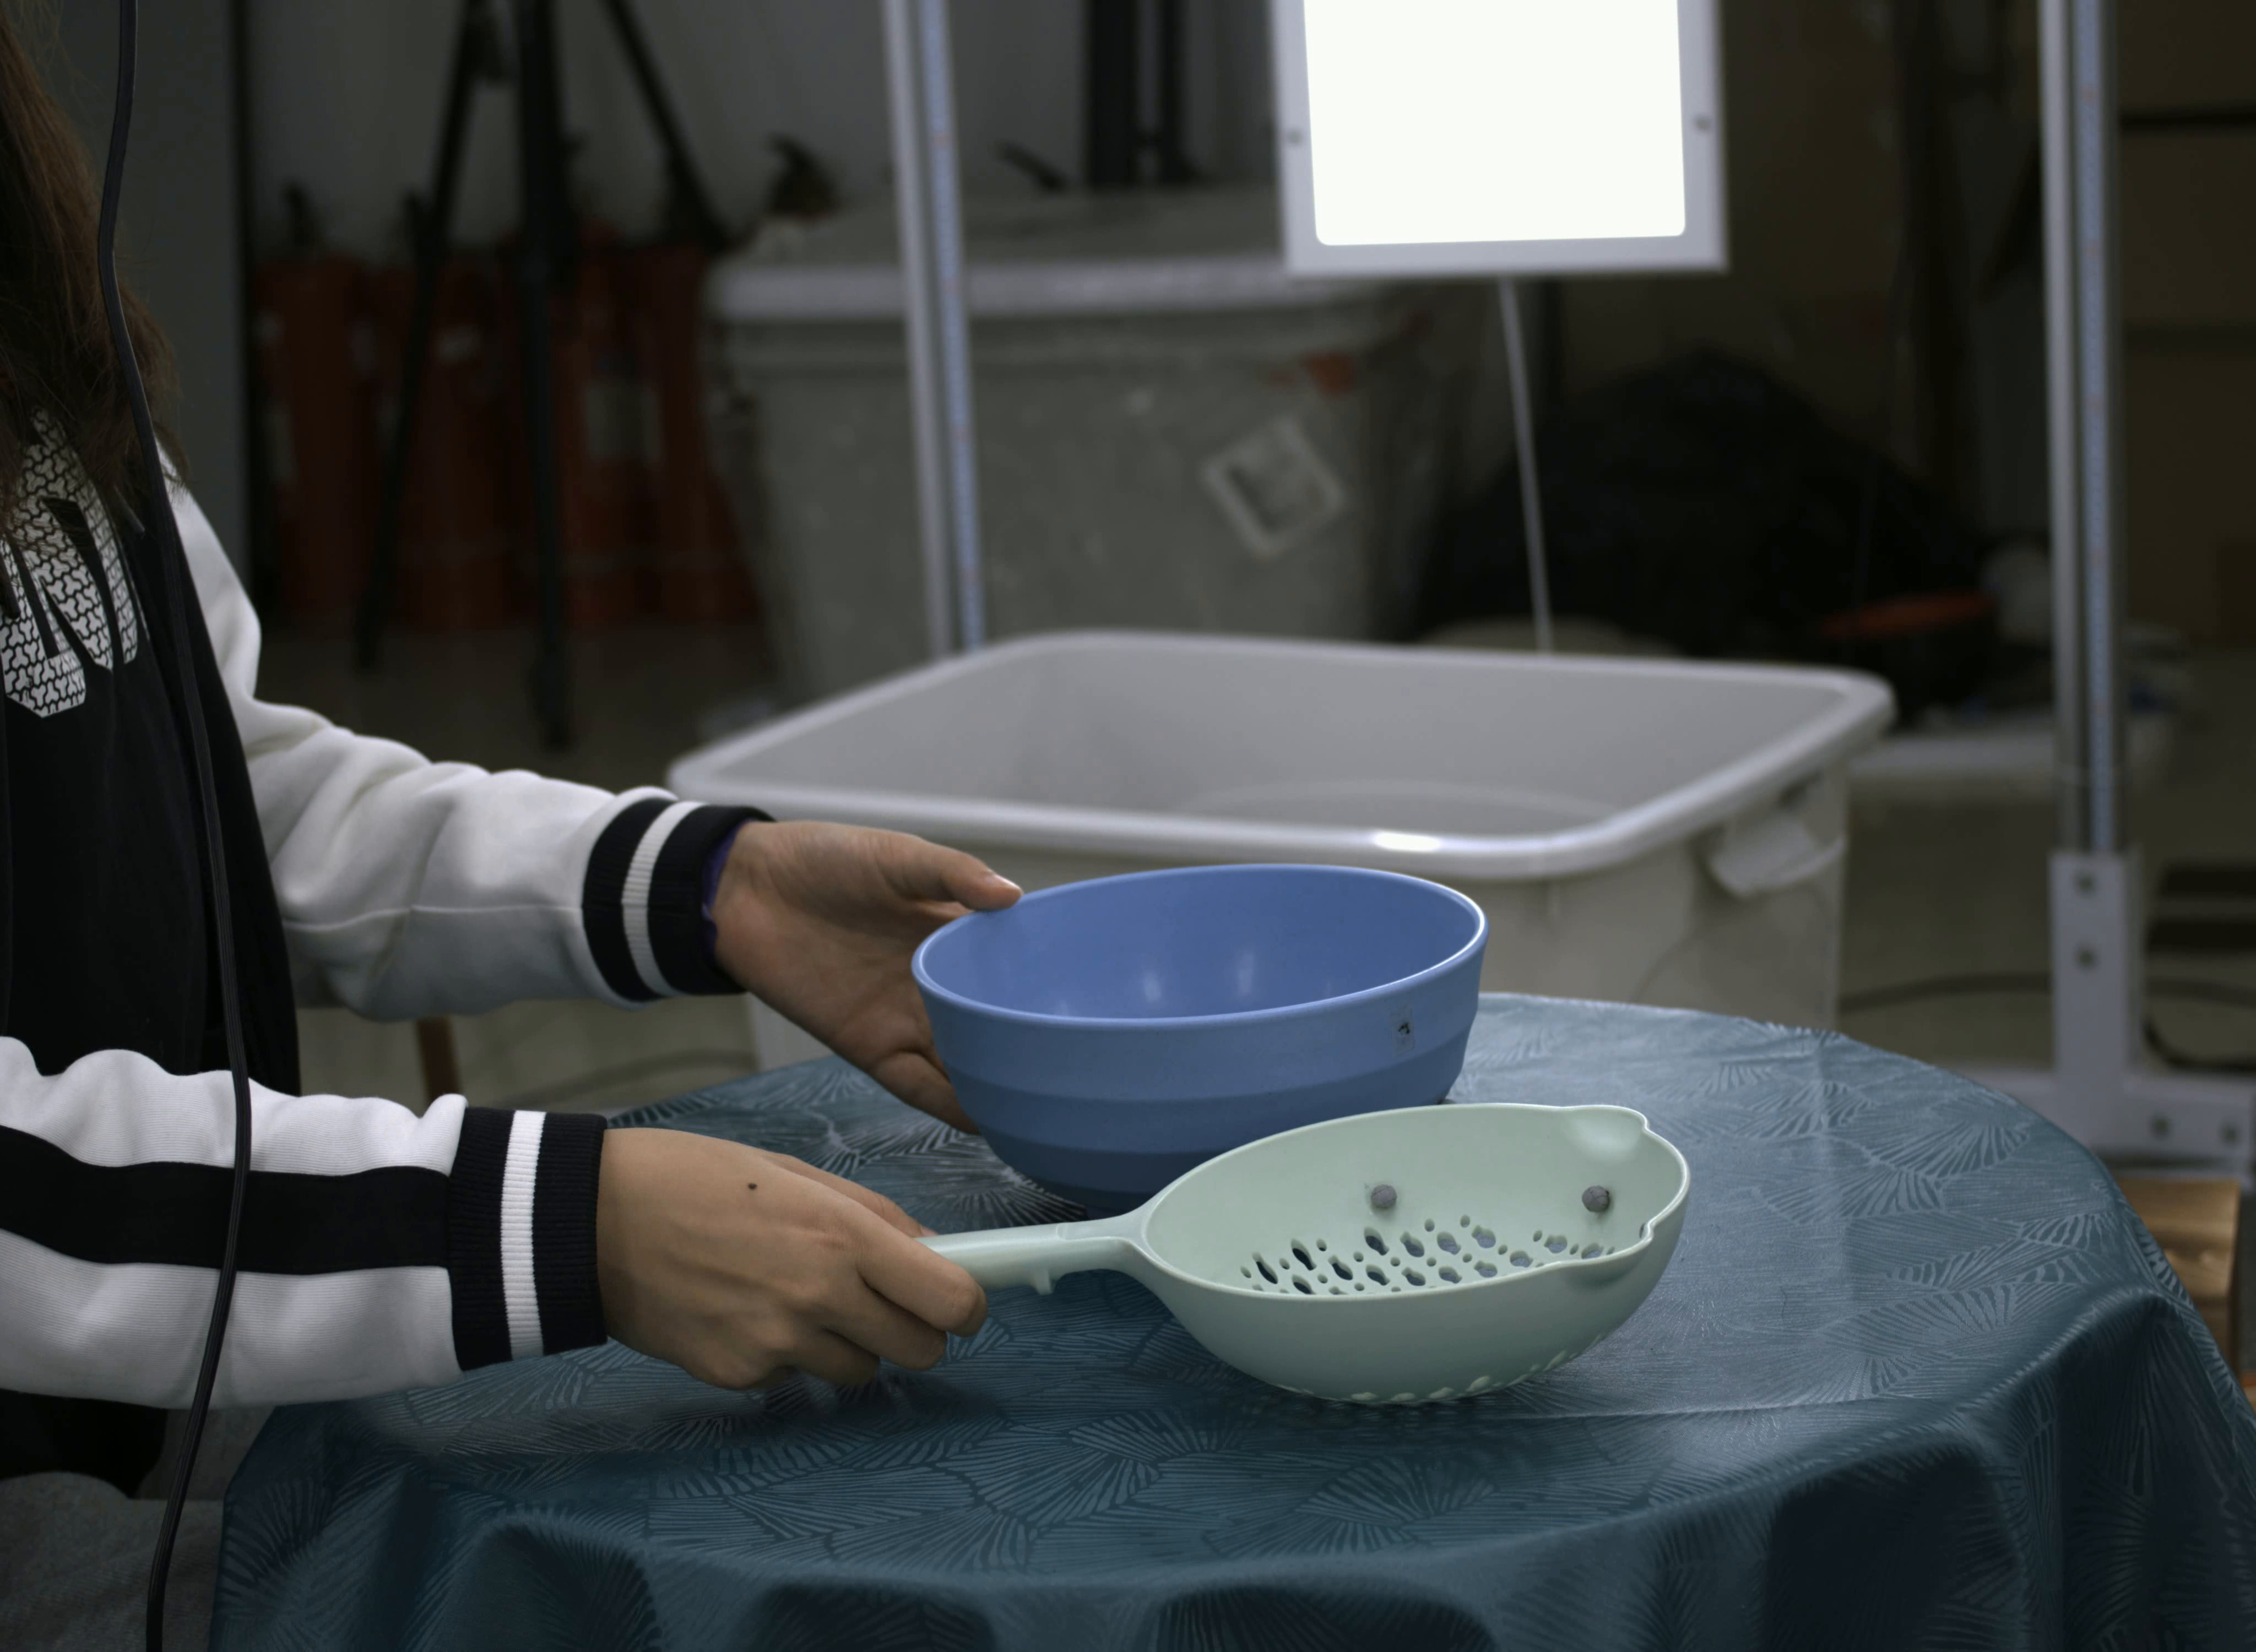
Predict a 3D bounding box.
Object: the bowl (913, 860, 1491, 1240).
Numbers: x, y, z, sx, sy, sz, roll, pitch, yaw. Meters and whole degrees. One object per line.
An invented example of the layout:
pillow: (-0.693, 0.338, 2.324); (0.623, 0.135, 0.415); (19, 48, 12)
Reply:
bowl: (0.028, 0.083, 1.867); (0.196, 0.096, 0.196); (-5, 14, 0)

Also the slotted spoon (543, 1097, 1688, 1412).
slotted spoon: (-0.007, 0.139, 1.700); (0.360, 0.076, 0.168); (0, 16, 7)
